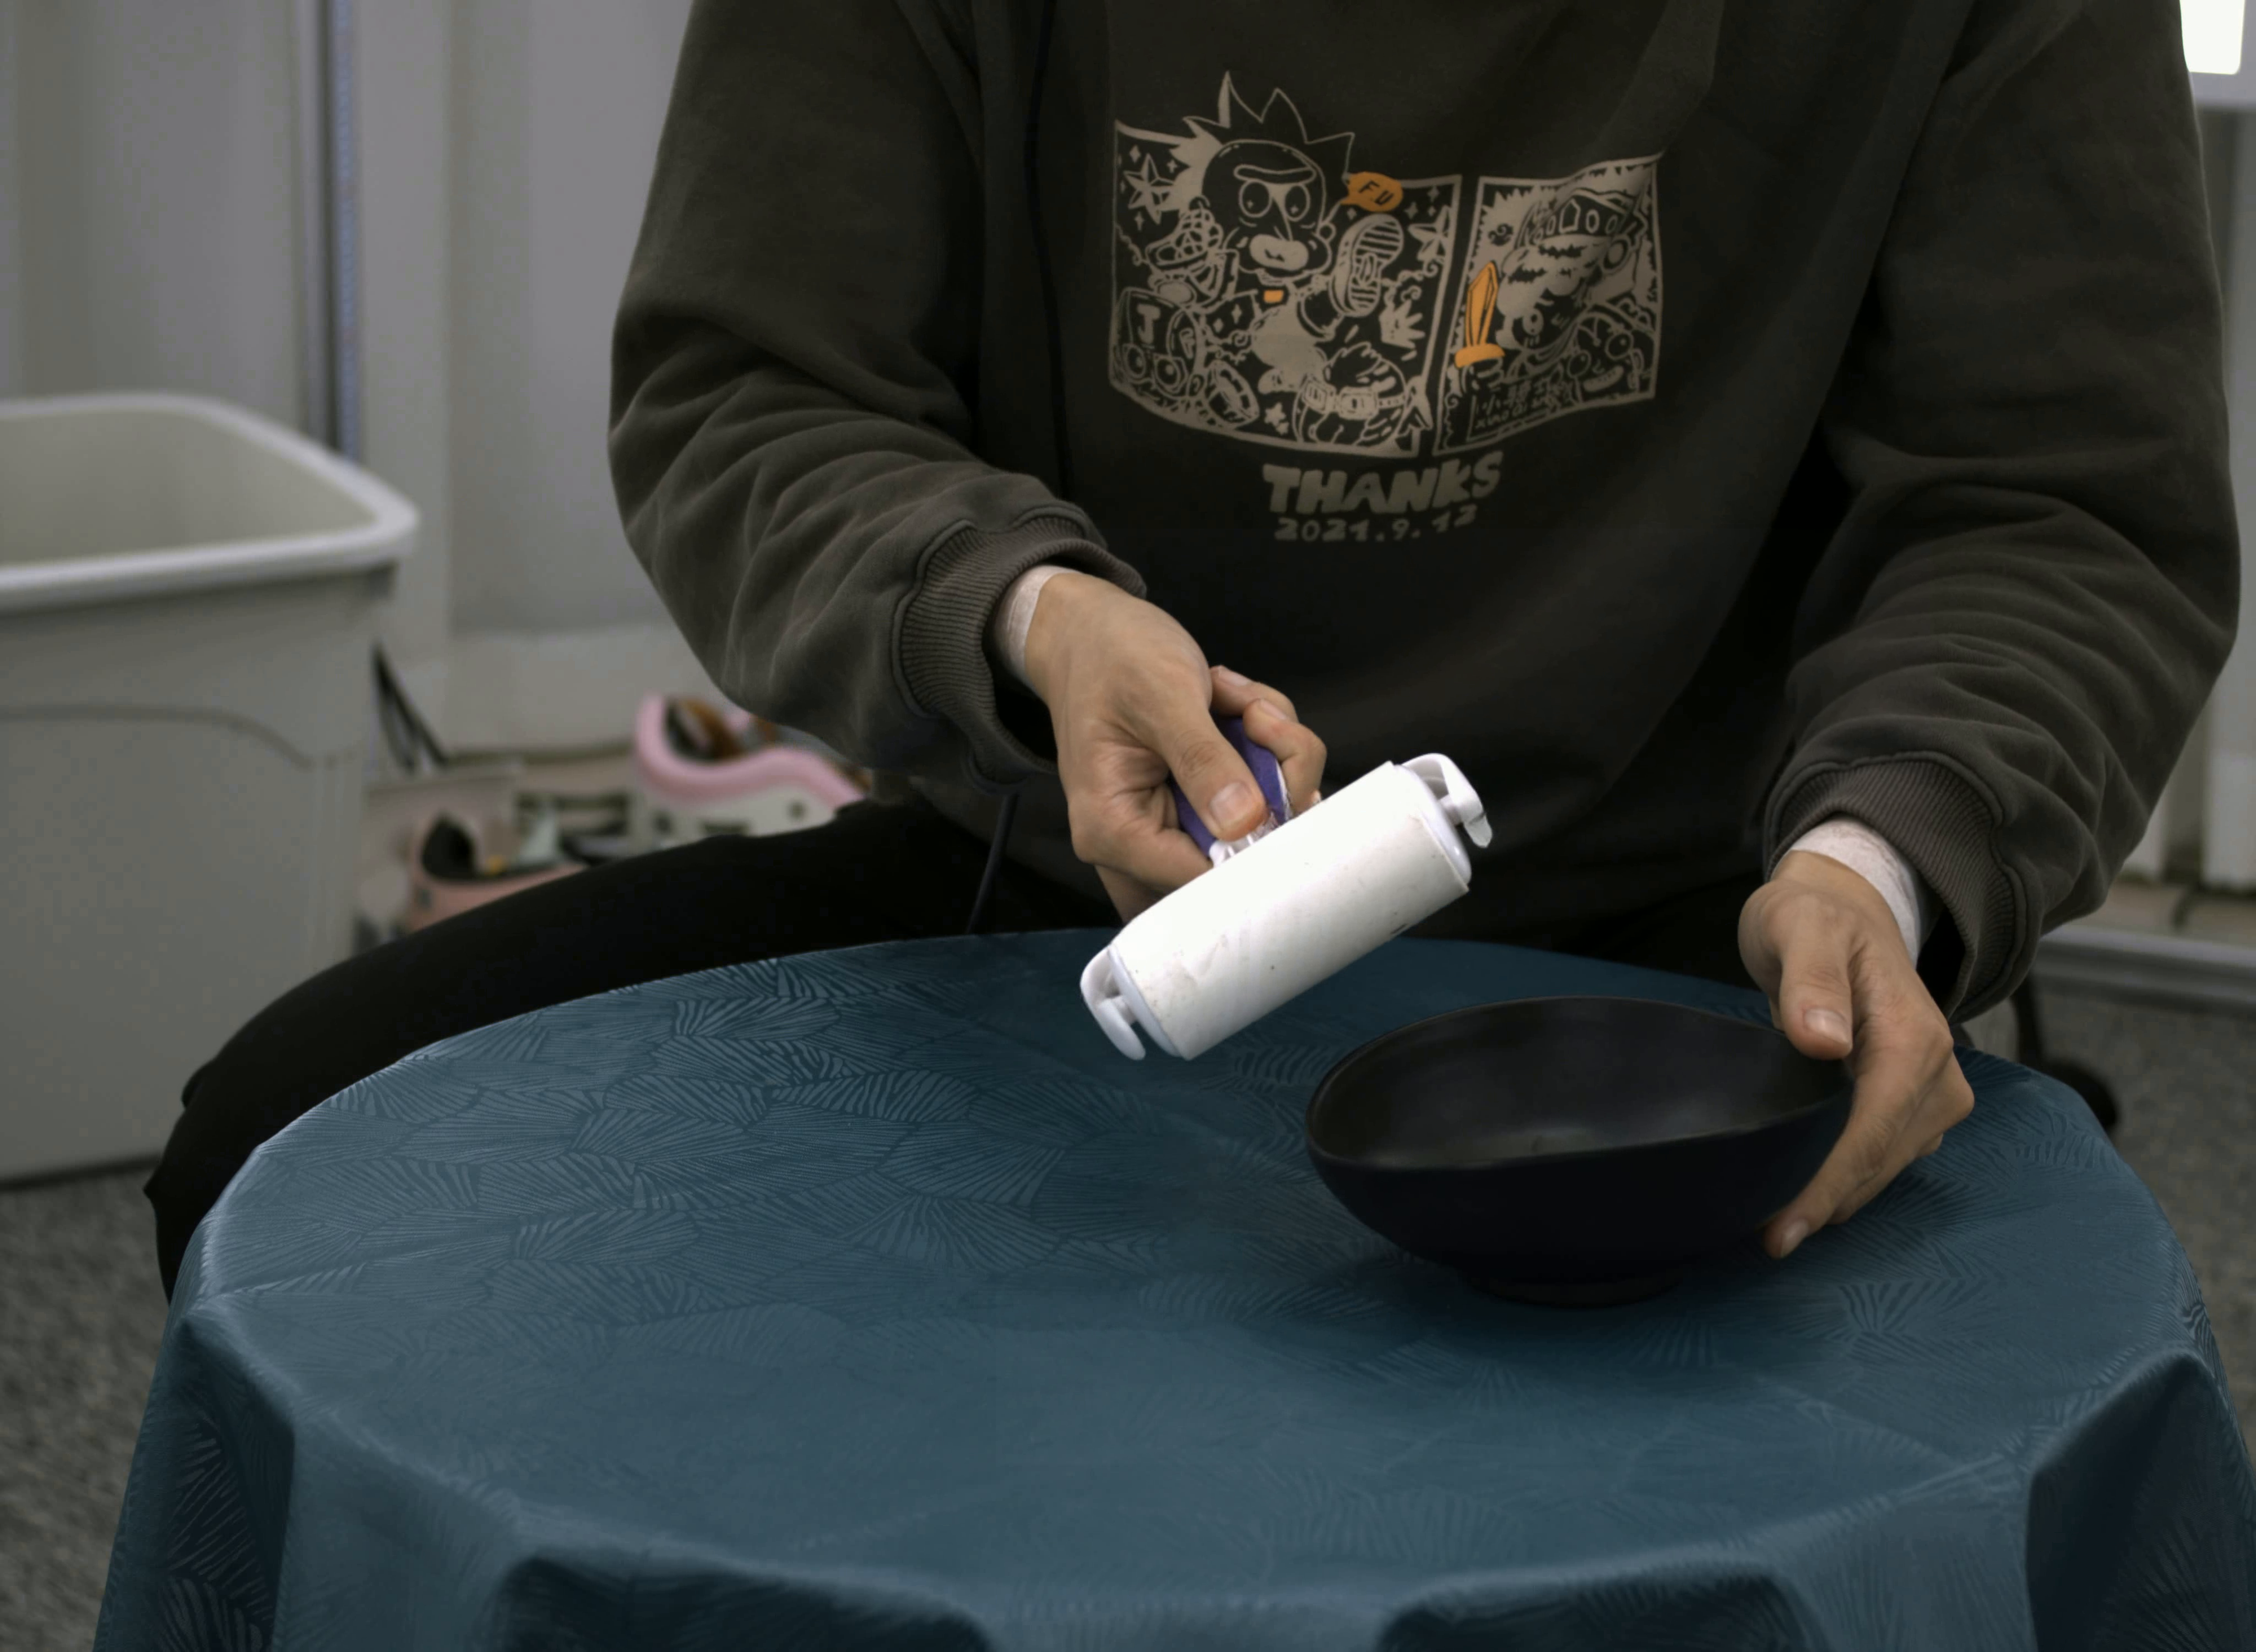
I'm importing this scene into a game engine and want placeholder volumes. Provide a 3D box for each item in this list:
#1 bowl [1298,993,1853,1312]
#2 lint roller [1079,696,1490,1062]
[{"bbox_3d":[0.133,0.102,1.556,0.171,0.067,0.135,-9,17,-25],"label":"bowl"},{"bbox_3d":[0.034,-0.007,1.633,0.132,0.051,0.178,-31,34,5],"label":"lint roller"}]
